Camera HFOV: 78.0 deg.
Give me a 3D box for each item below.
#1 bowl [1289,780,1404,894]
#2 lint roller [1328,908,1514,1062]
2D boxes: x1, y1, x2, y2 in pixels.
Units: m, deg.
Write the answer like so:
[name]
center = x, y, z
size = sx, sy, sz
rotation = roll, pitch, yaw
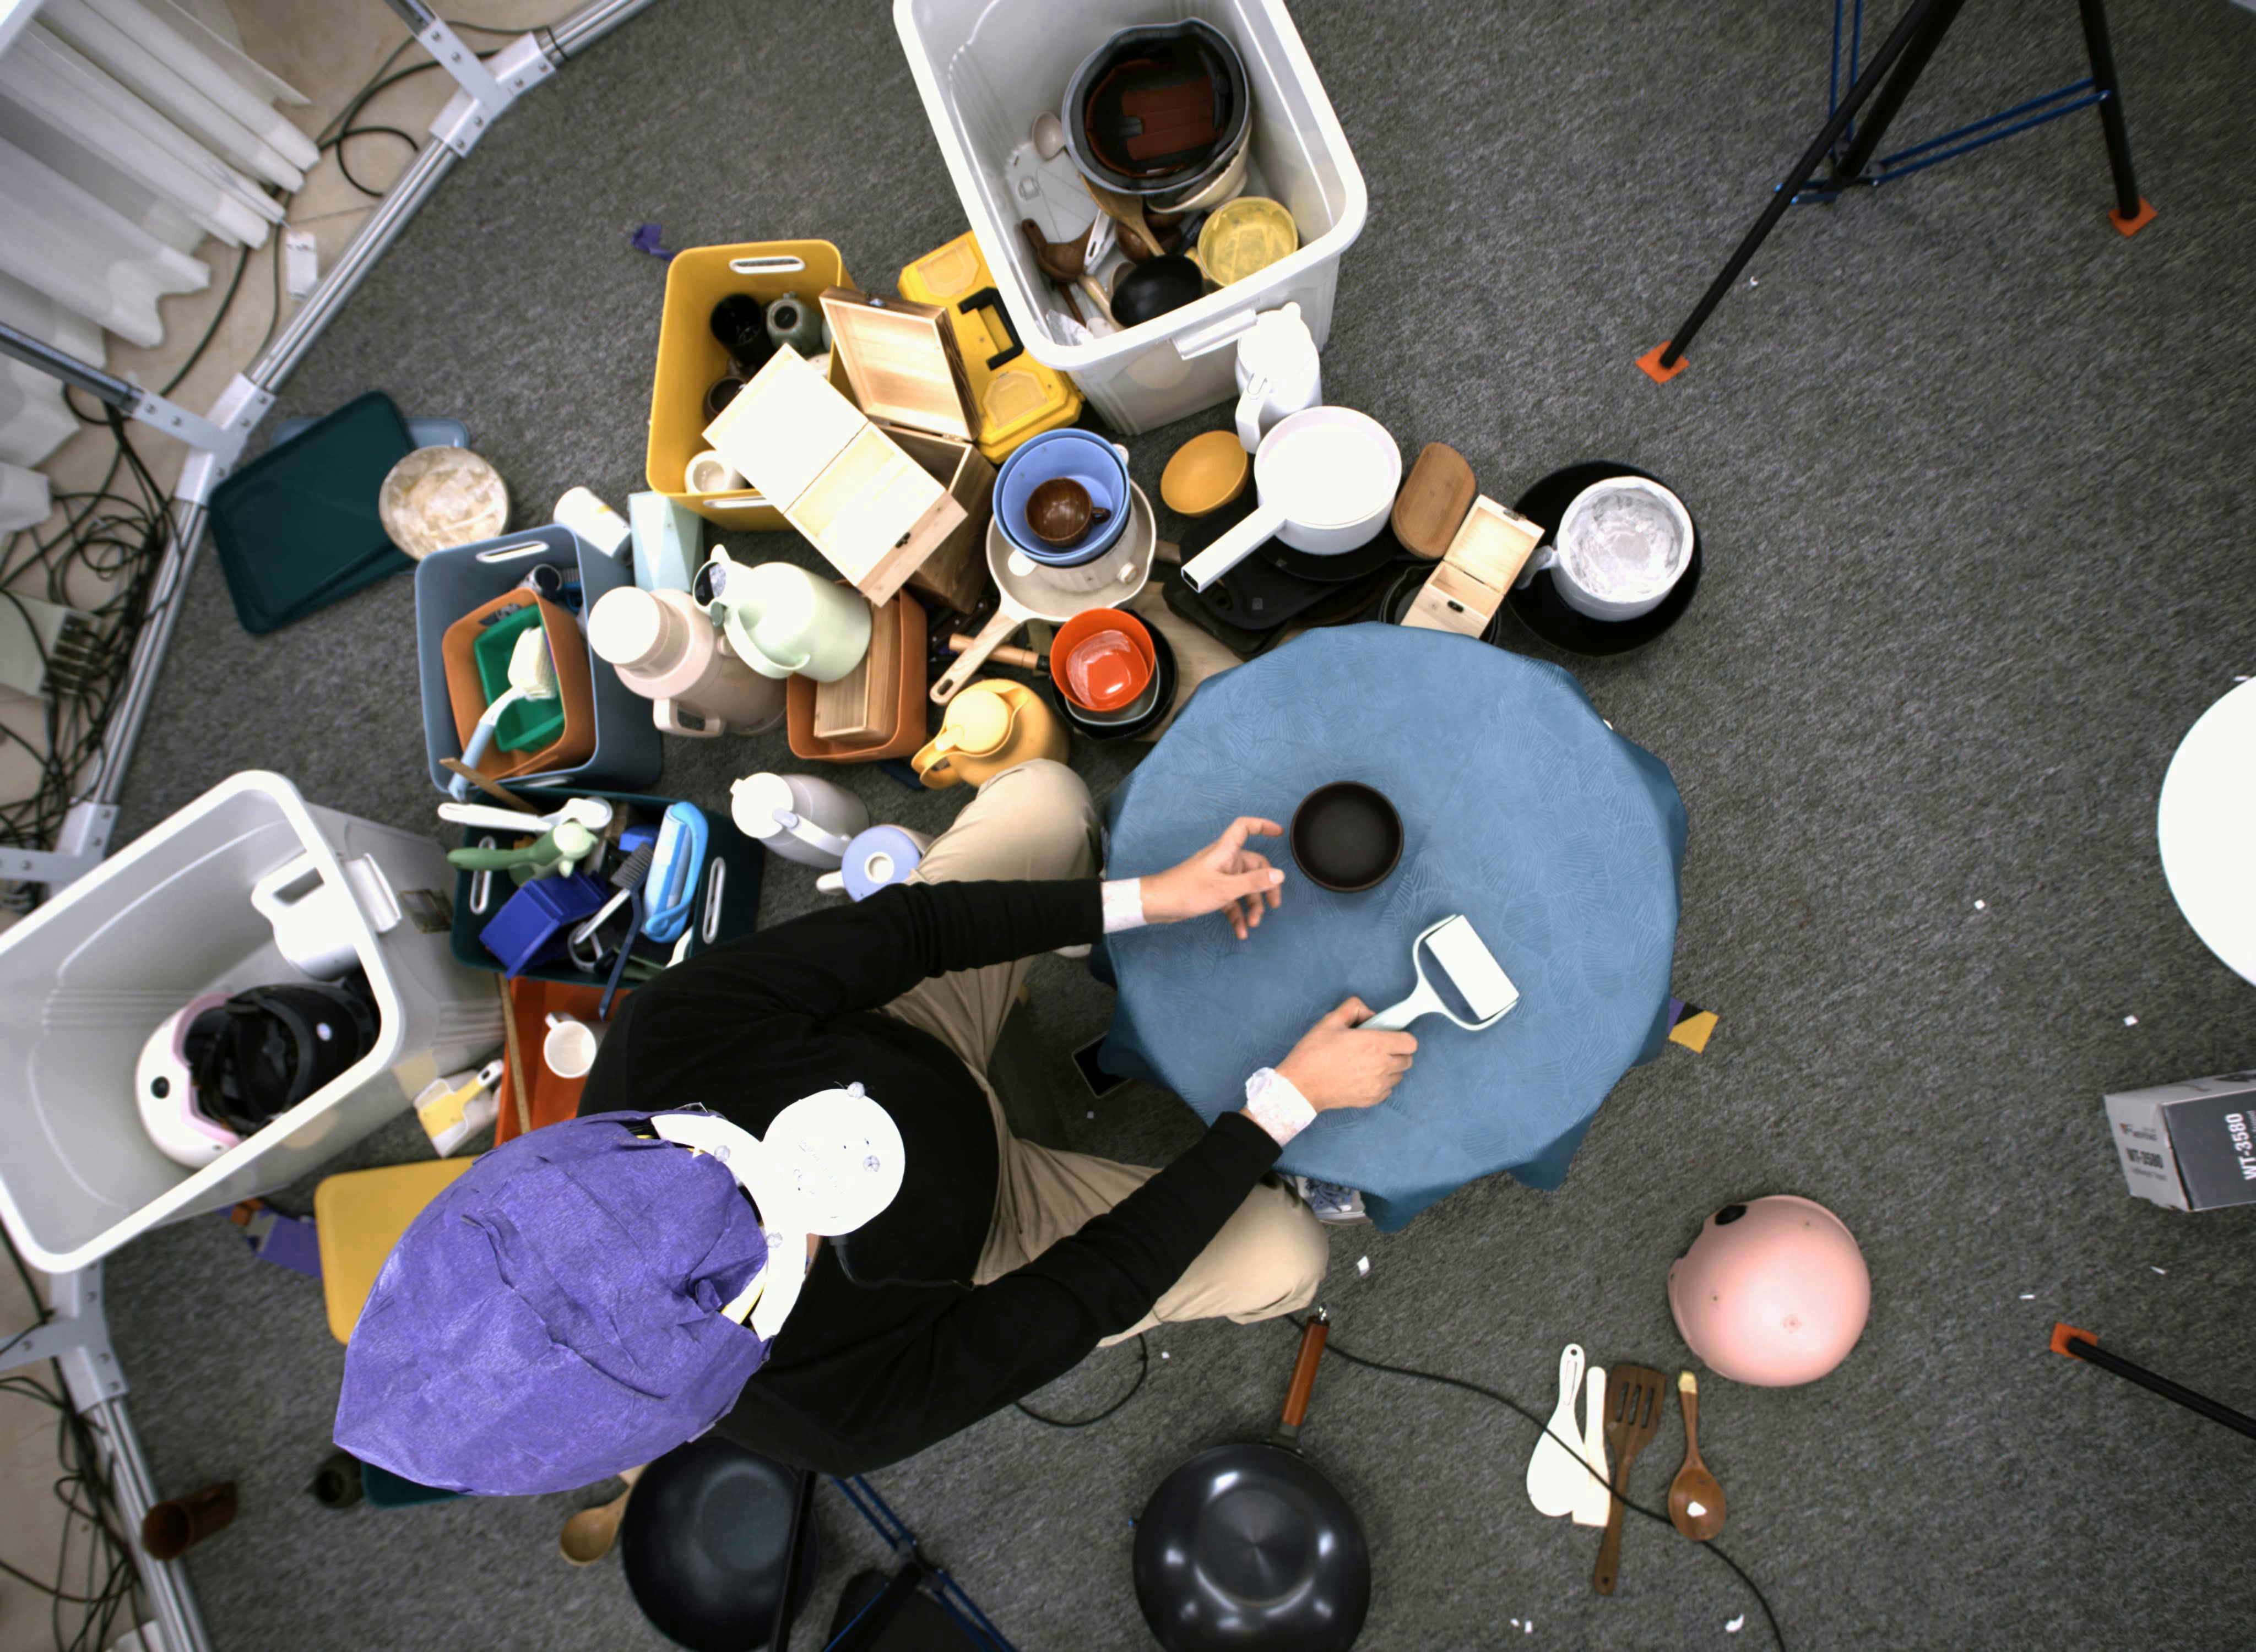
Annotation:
[bowl]
center = 0.227, 0.012, 1.435
size = 0.118, 0.070, 0.117
rotation = -1, 87, 10
[lint roller]
center = 0.287, 0.179, 1.425
size = 0.198, 0.048, 0.116
rotation = -35, 82, 6
